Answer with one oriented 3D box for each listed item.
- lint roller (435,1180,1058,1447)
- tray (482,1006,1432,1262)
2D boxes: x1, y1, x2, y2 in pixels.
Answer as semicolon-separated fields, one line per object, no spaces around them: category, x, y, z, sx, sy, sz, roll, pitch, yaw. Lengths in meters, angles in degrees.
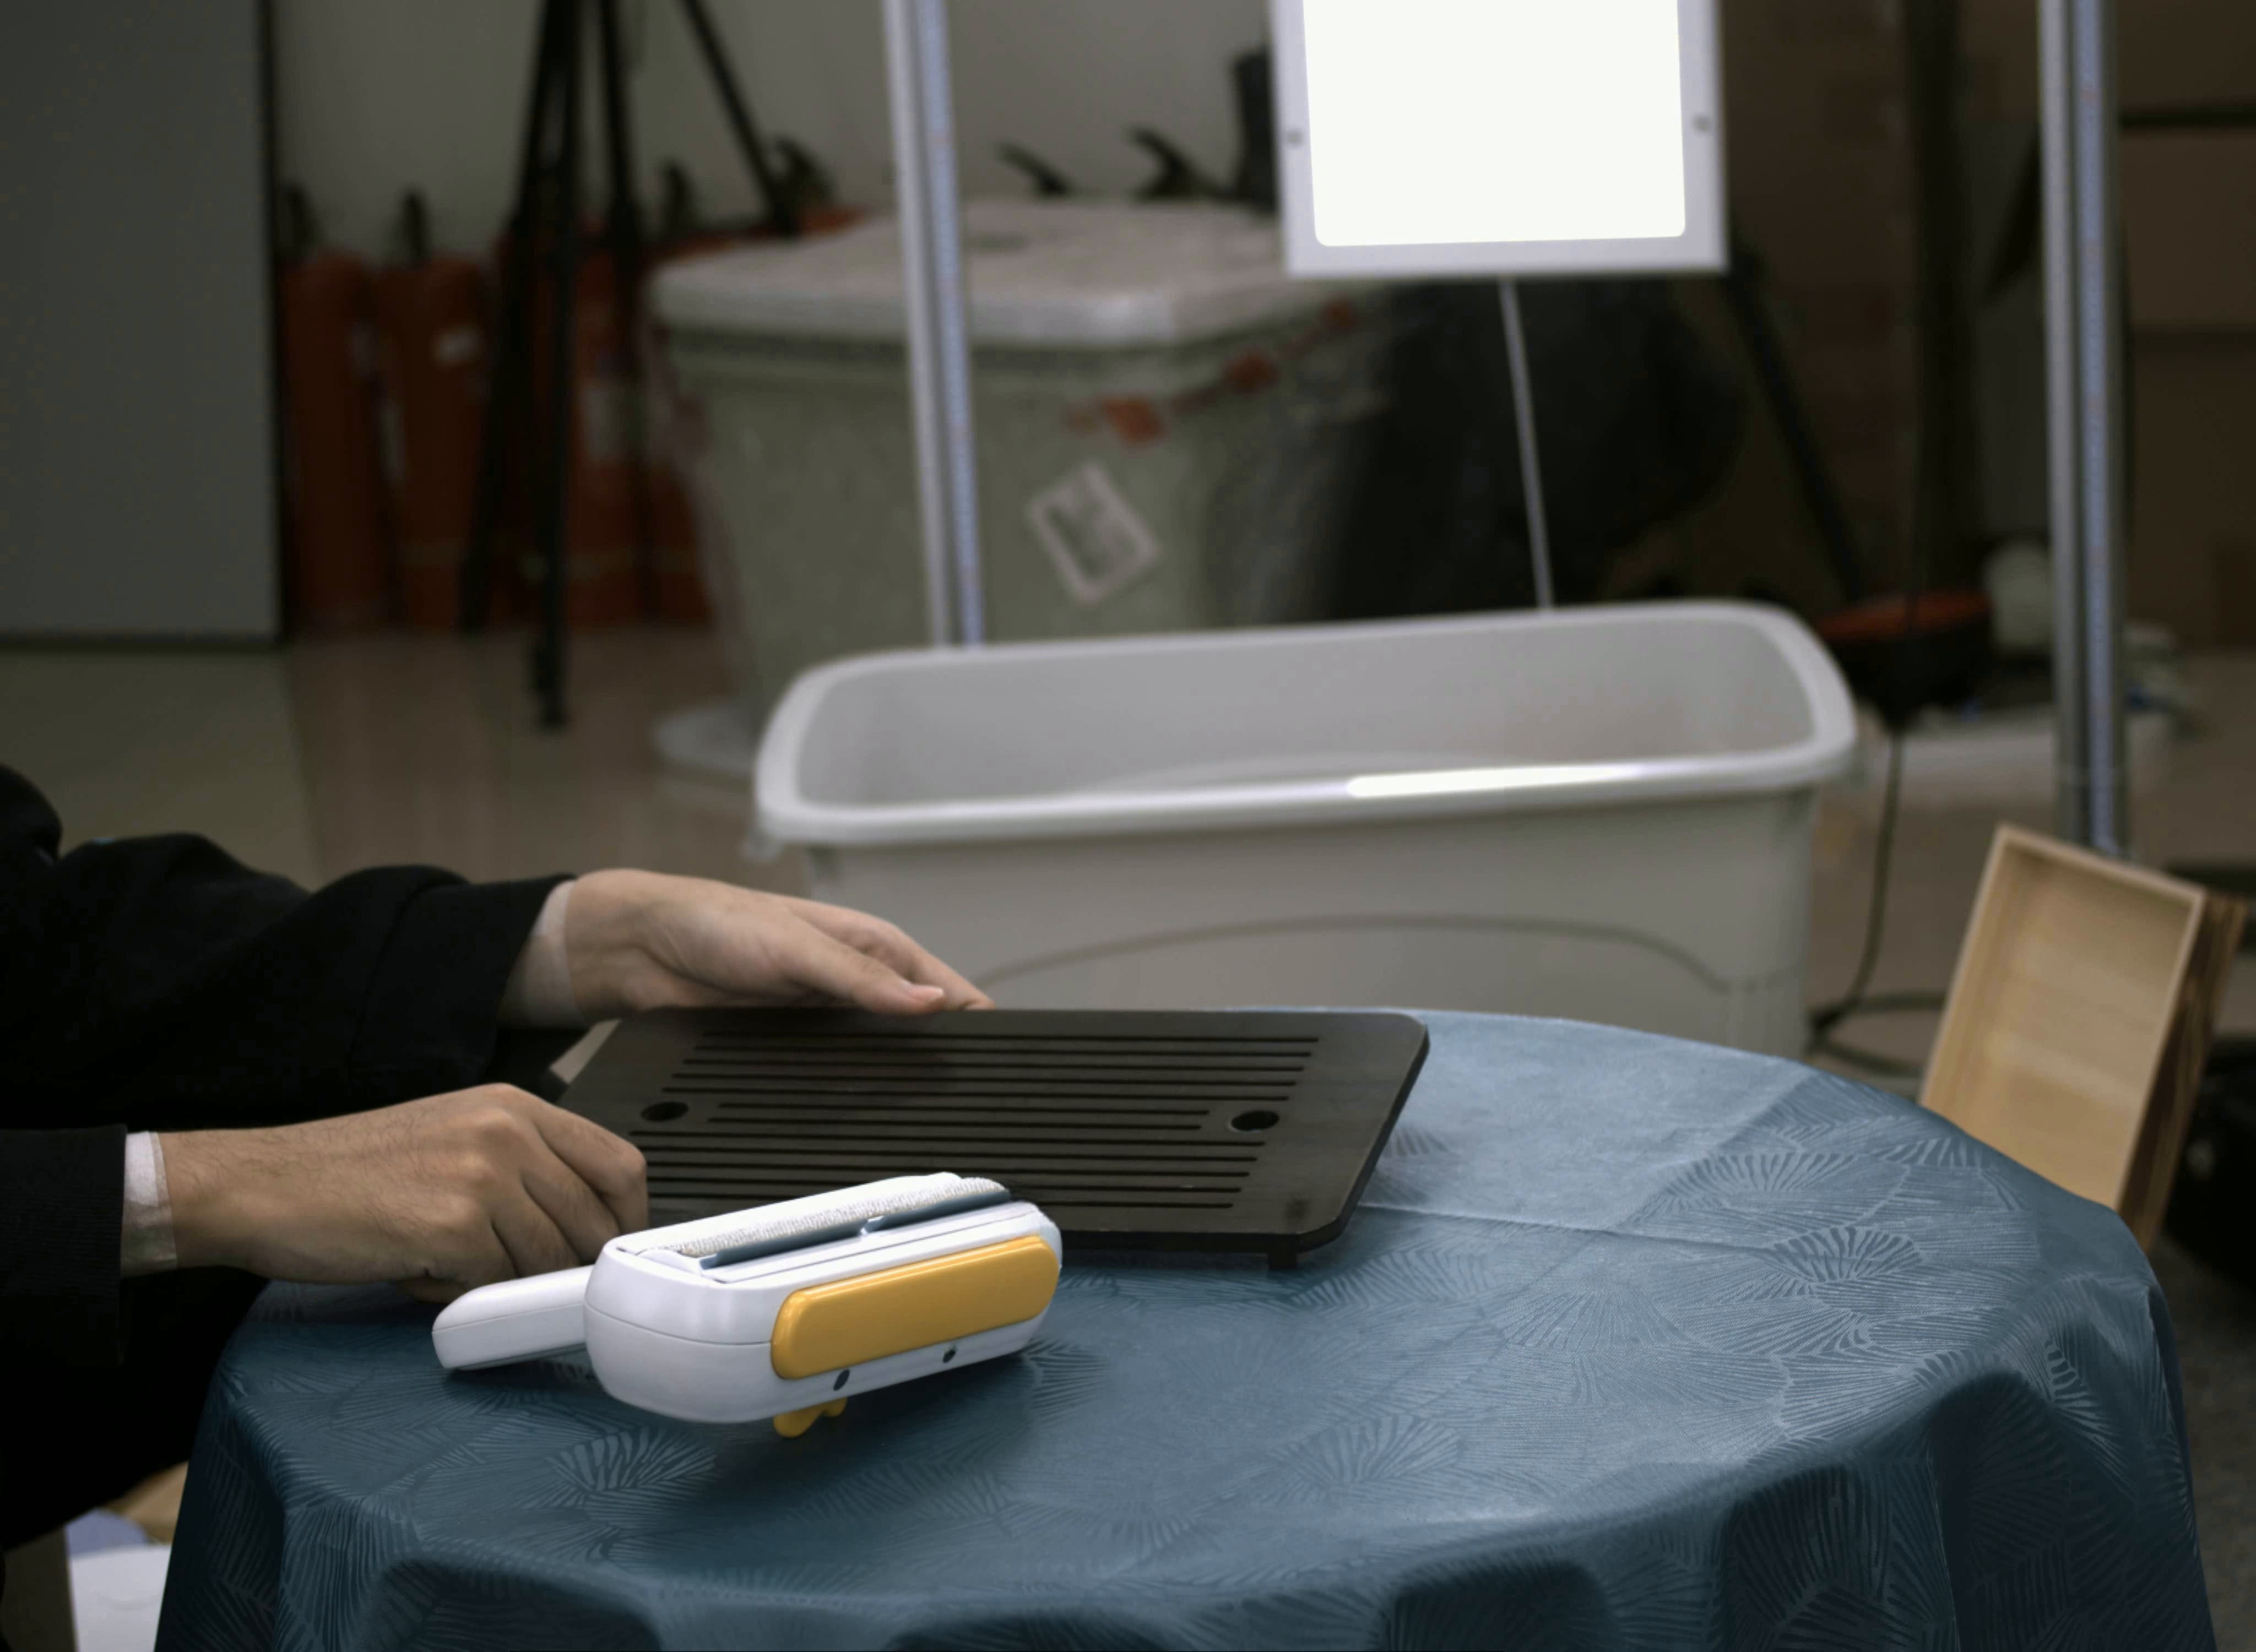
lint roller;-0.142;0.148;1.719;0.196;0.074;0.188;4;11;38
tray;-0.057;0.106;1.913;0.309;0.018;0.167;-1;23;18
